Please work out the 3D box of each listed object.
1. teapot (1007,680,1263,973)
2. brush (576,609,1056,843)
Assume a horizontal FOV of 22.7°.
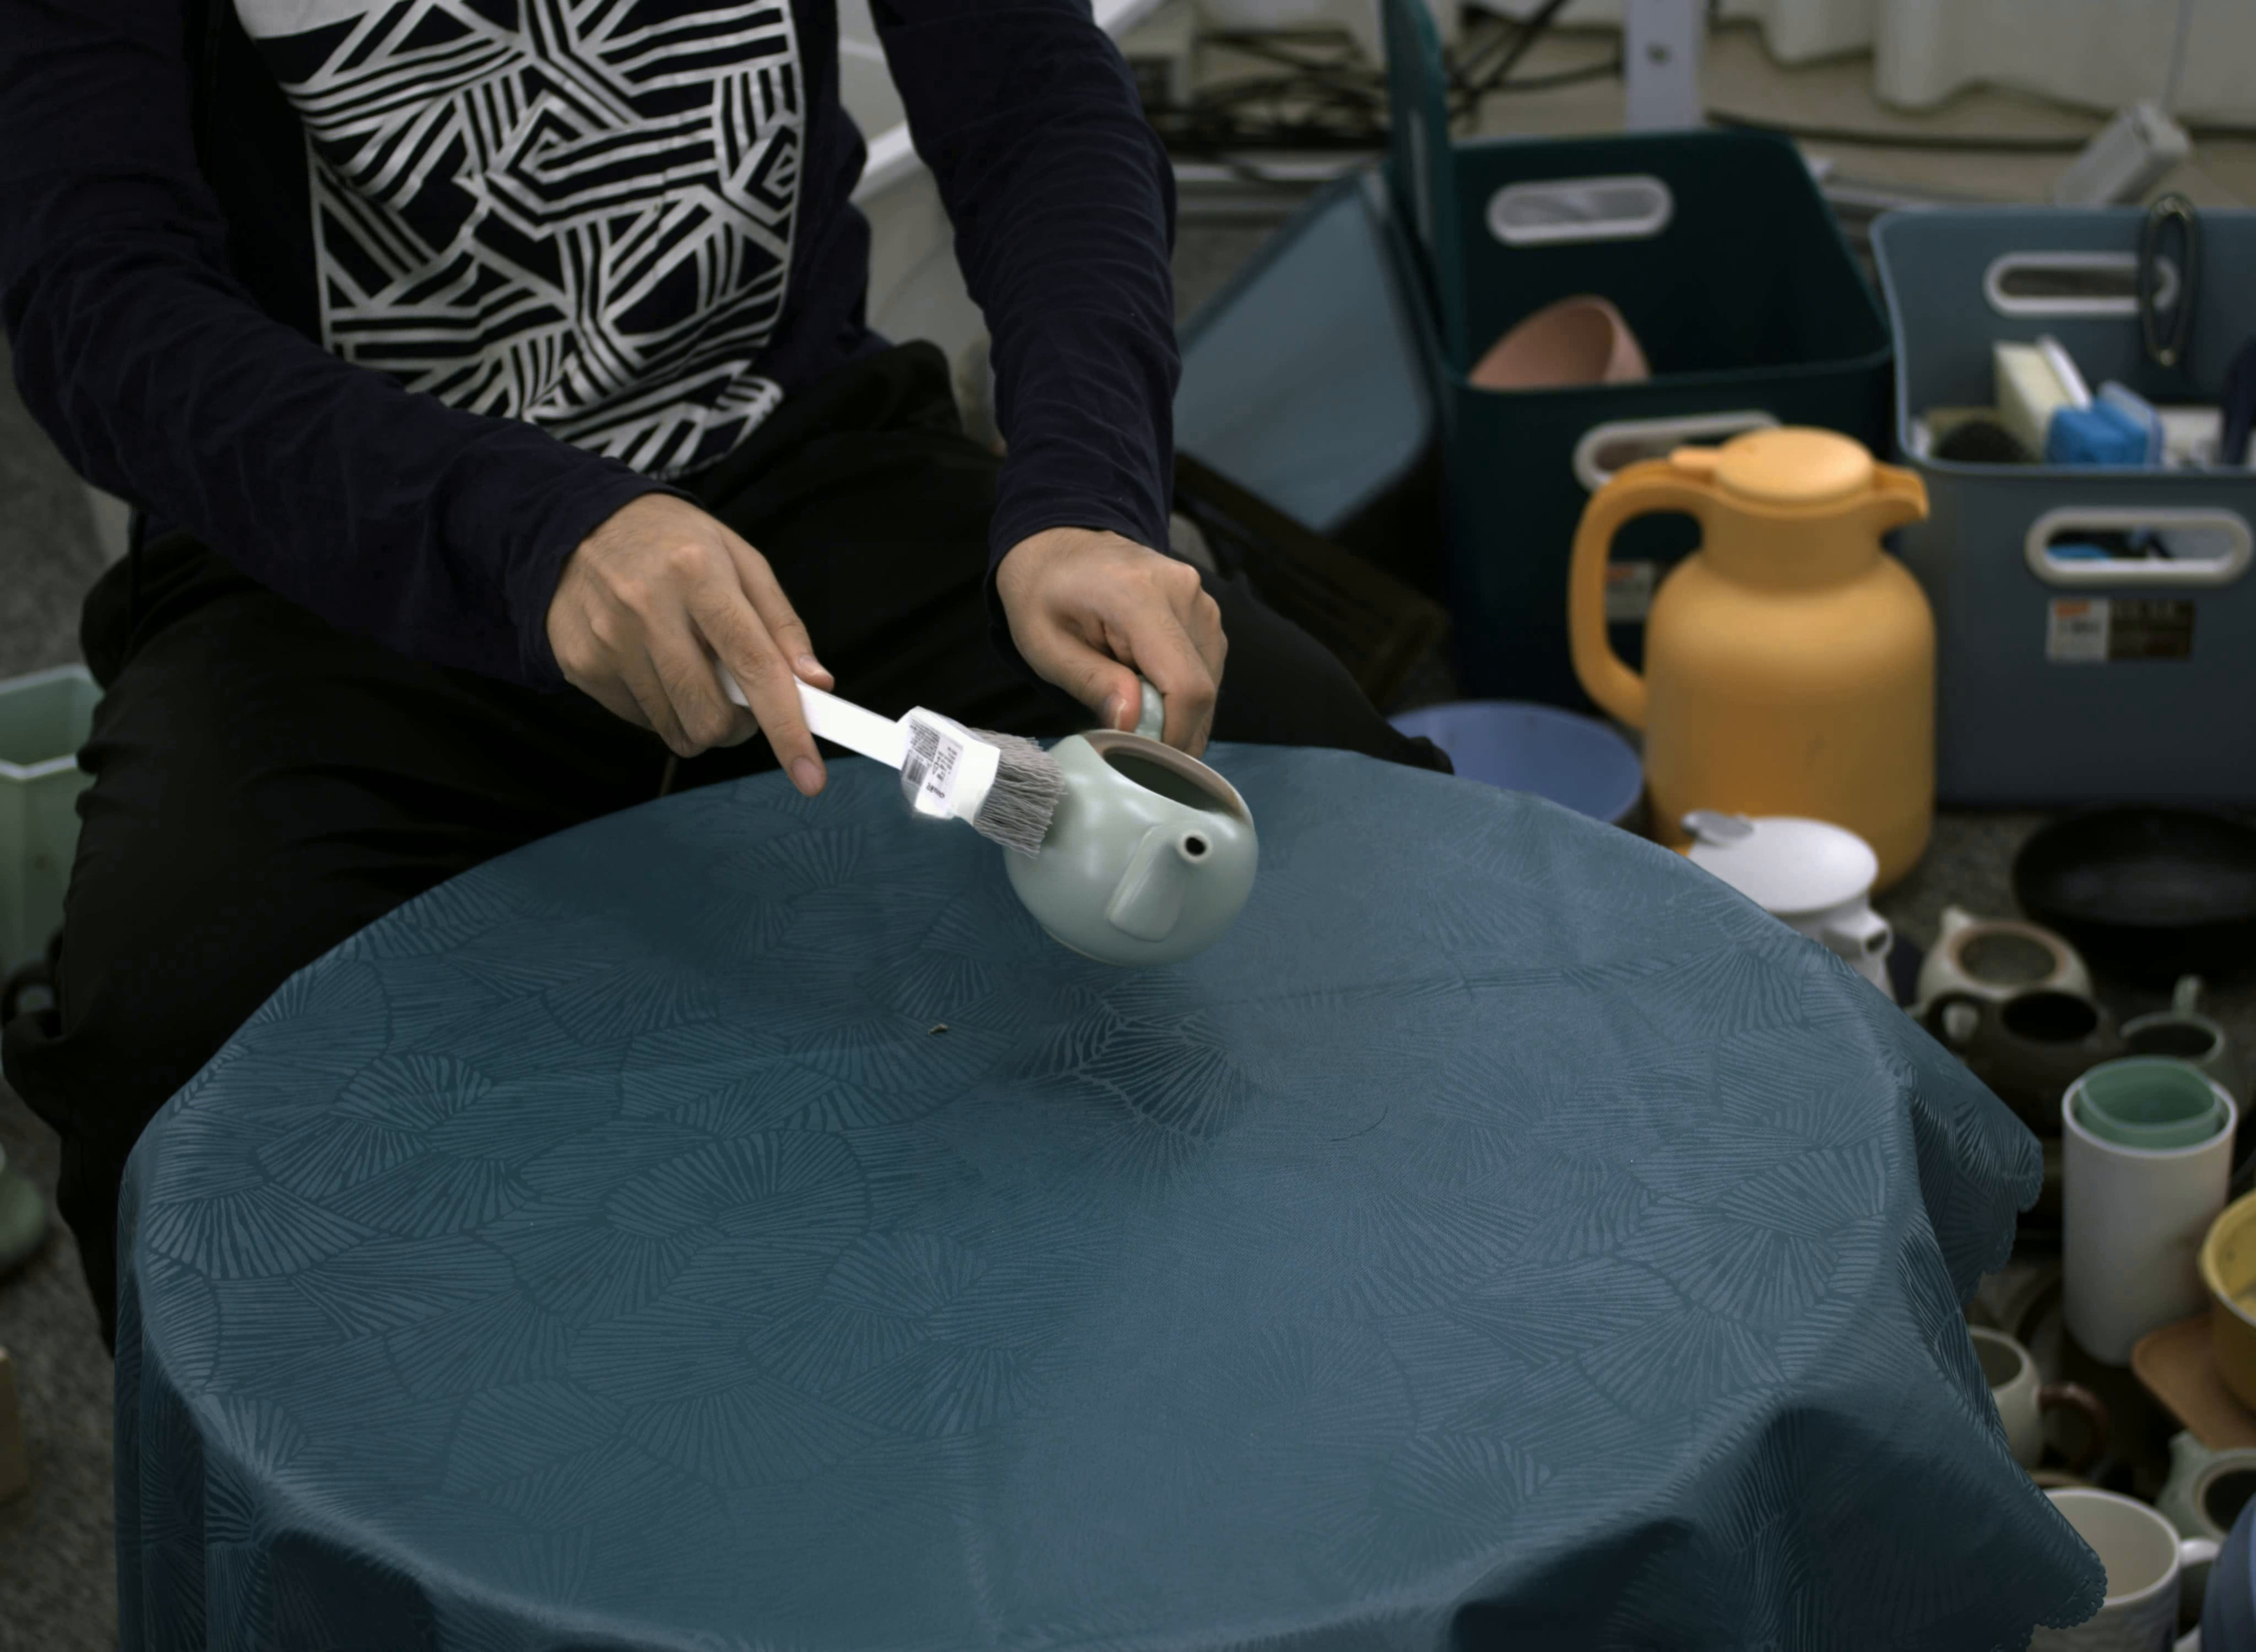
[{"bbox_3d":[0.003,0.008,1.911,0.088,0.074,0.145,19,20,-13],"label":"teapot"},{"bbox_3d":[-0.108,-0.037,1.954,0.050,0.034,0.243,10,7,-41],"label":"brush"}]
